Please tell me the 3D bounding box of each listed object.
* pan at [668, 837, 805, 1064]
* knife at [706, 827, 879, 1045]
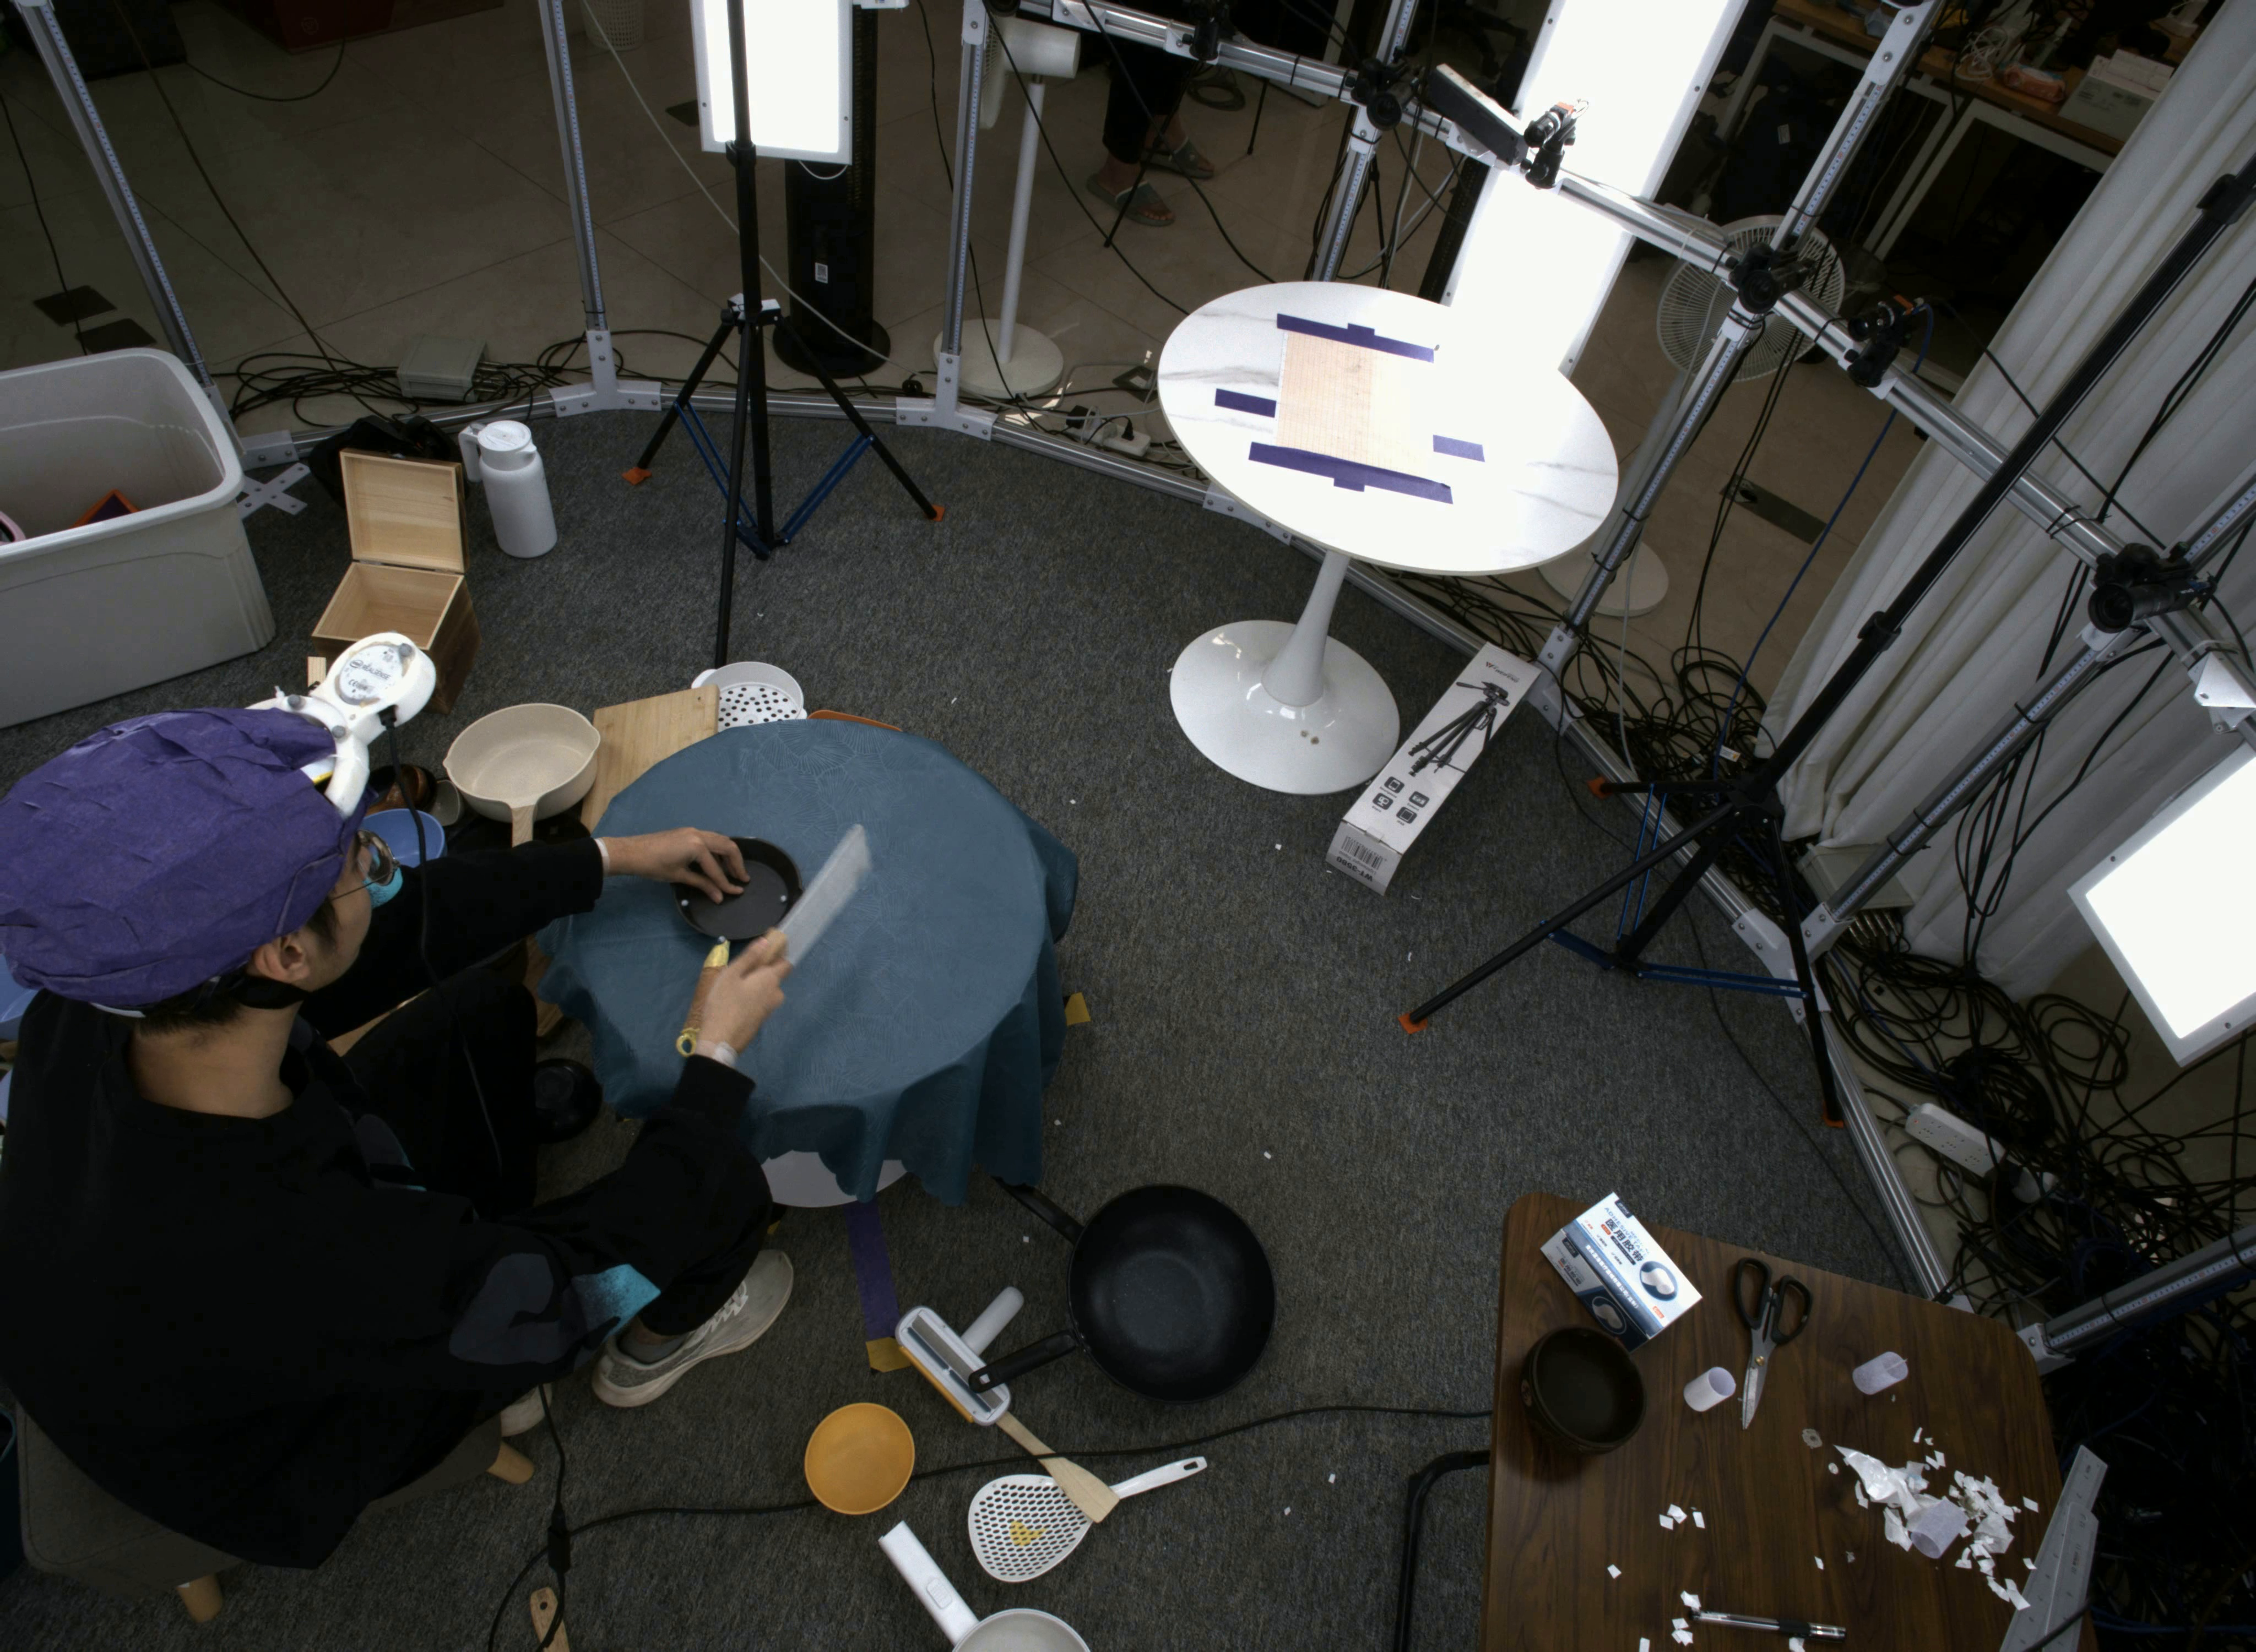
[{"bbox_3d":[-0.491,0.144,1.554,0.168,0.050,0.318,10,51,-8],"label":"pan"},{"bbox_3d":[-0.368,0.120,1.451,0.021,0.117,0.313,22,47,13],"label":"knife"}]
